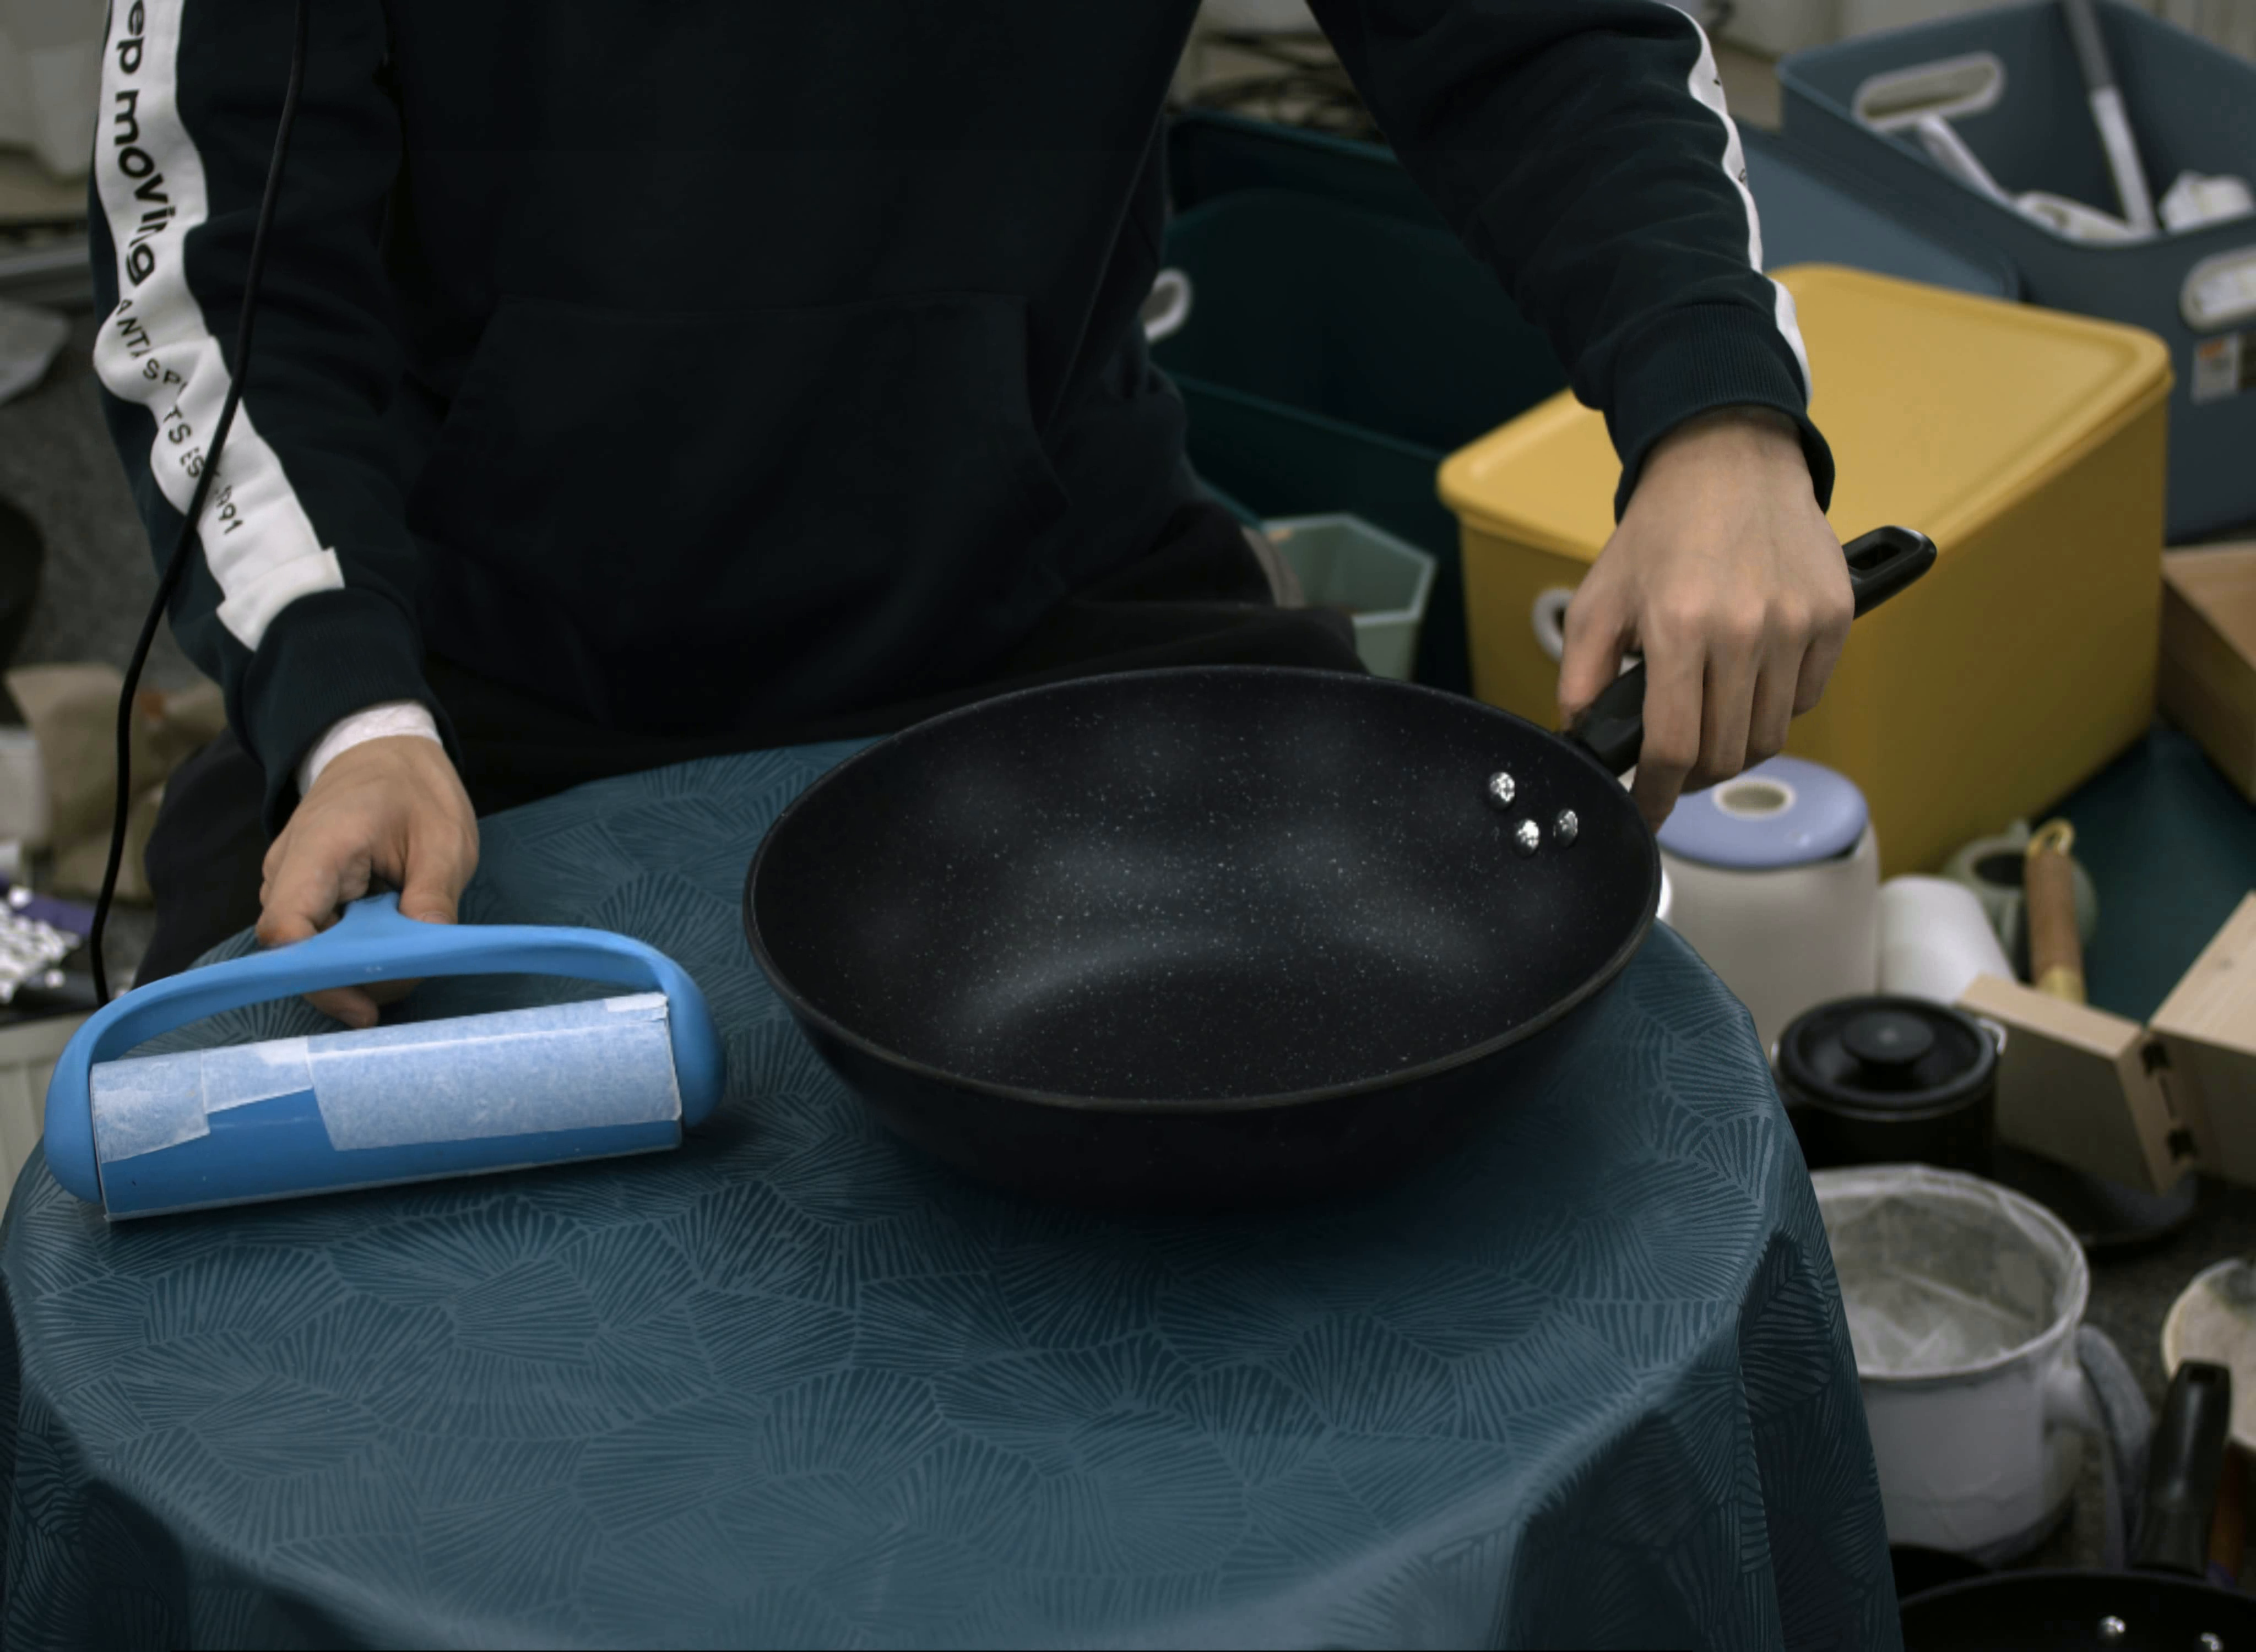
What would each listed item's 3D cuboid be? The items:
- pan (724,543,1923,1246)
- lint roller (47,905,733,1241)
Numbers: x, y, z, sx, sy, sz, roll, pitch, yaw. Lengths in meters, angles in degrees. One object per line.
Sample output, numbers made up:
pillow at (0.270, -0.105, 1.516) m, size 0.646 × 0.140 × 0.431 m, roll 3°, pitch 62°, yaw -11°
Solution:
pan at (0.088, 0.020, 1.933) m, size 0.481 × 0.110 × 0.311 m, roll -21°, pitch 34°, yaw -30°
lint roller at (-0.259, 0.065, 1.926) m, size 0.229 × 0.067 × 0.182 m, roll -11°, pitch 33°, yaw -10°
